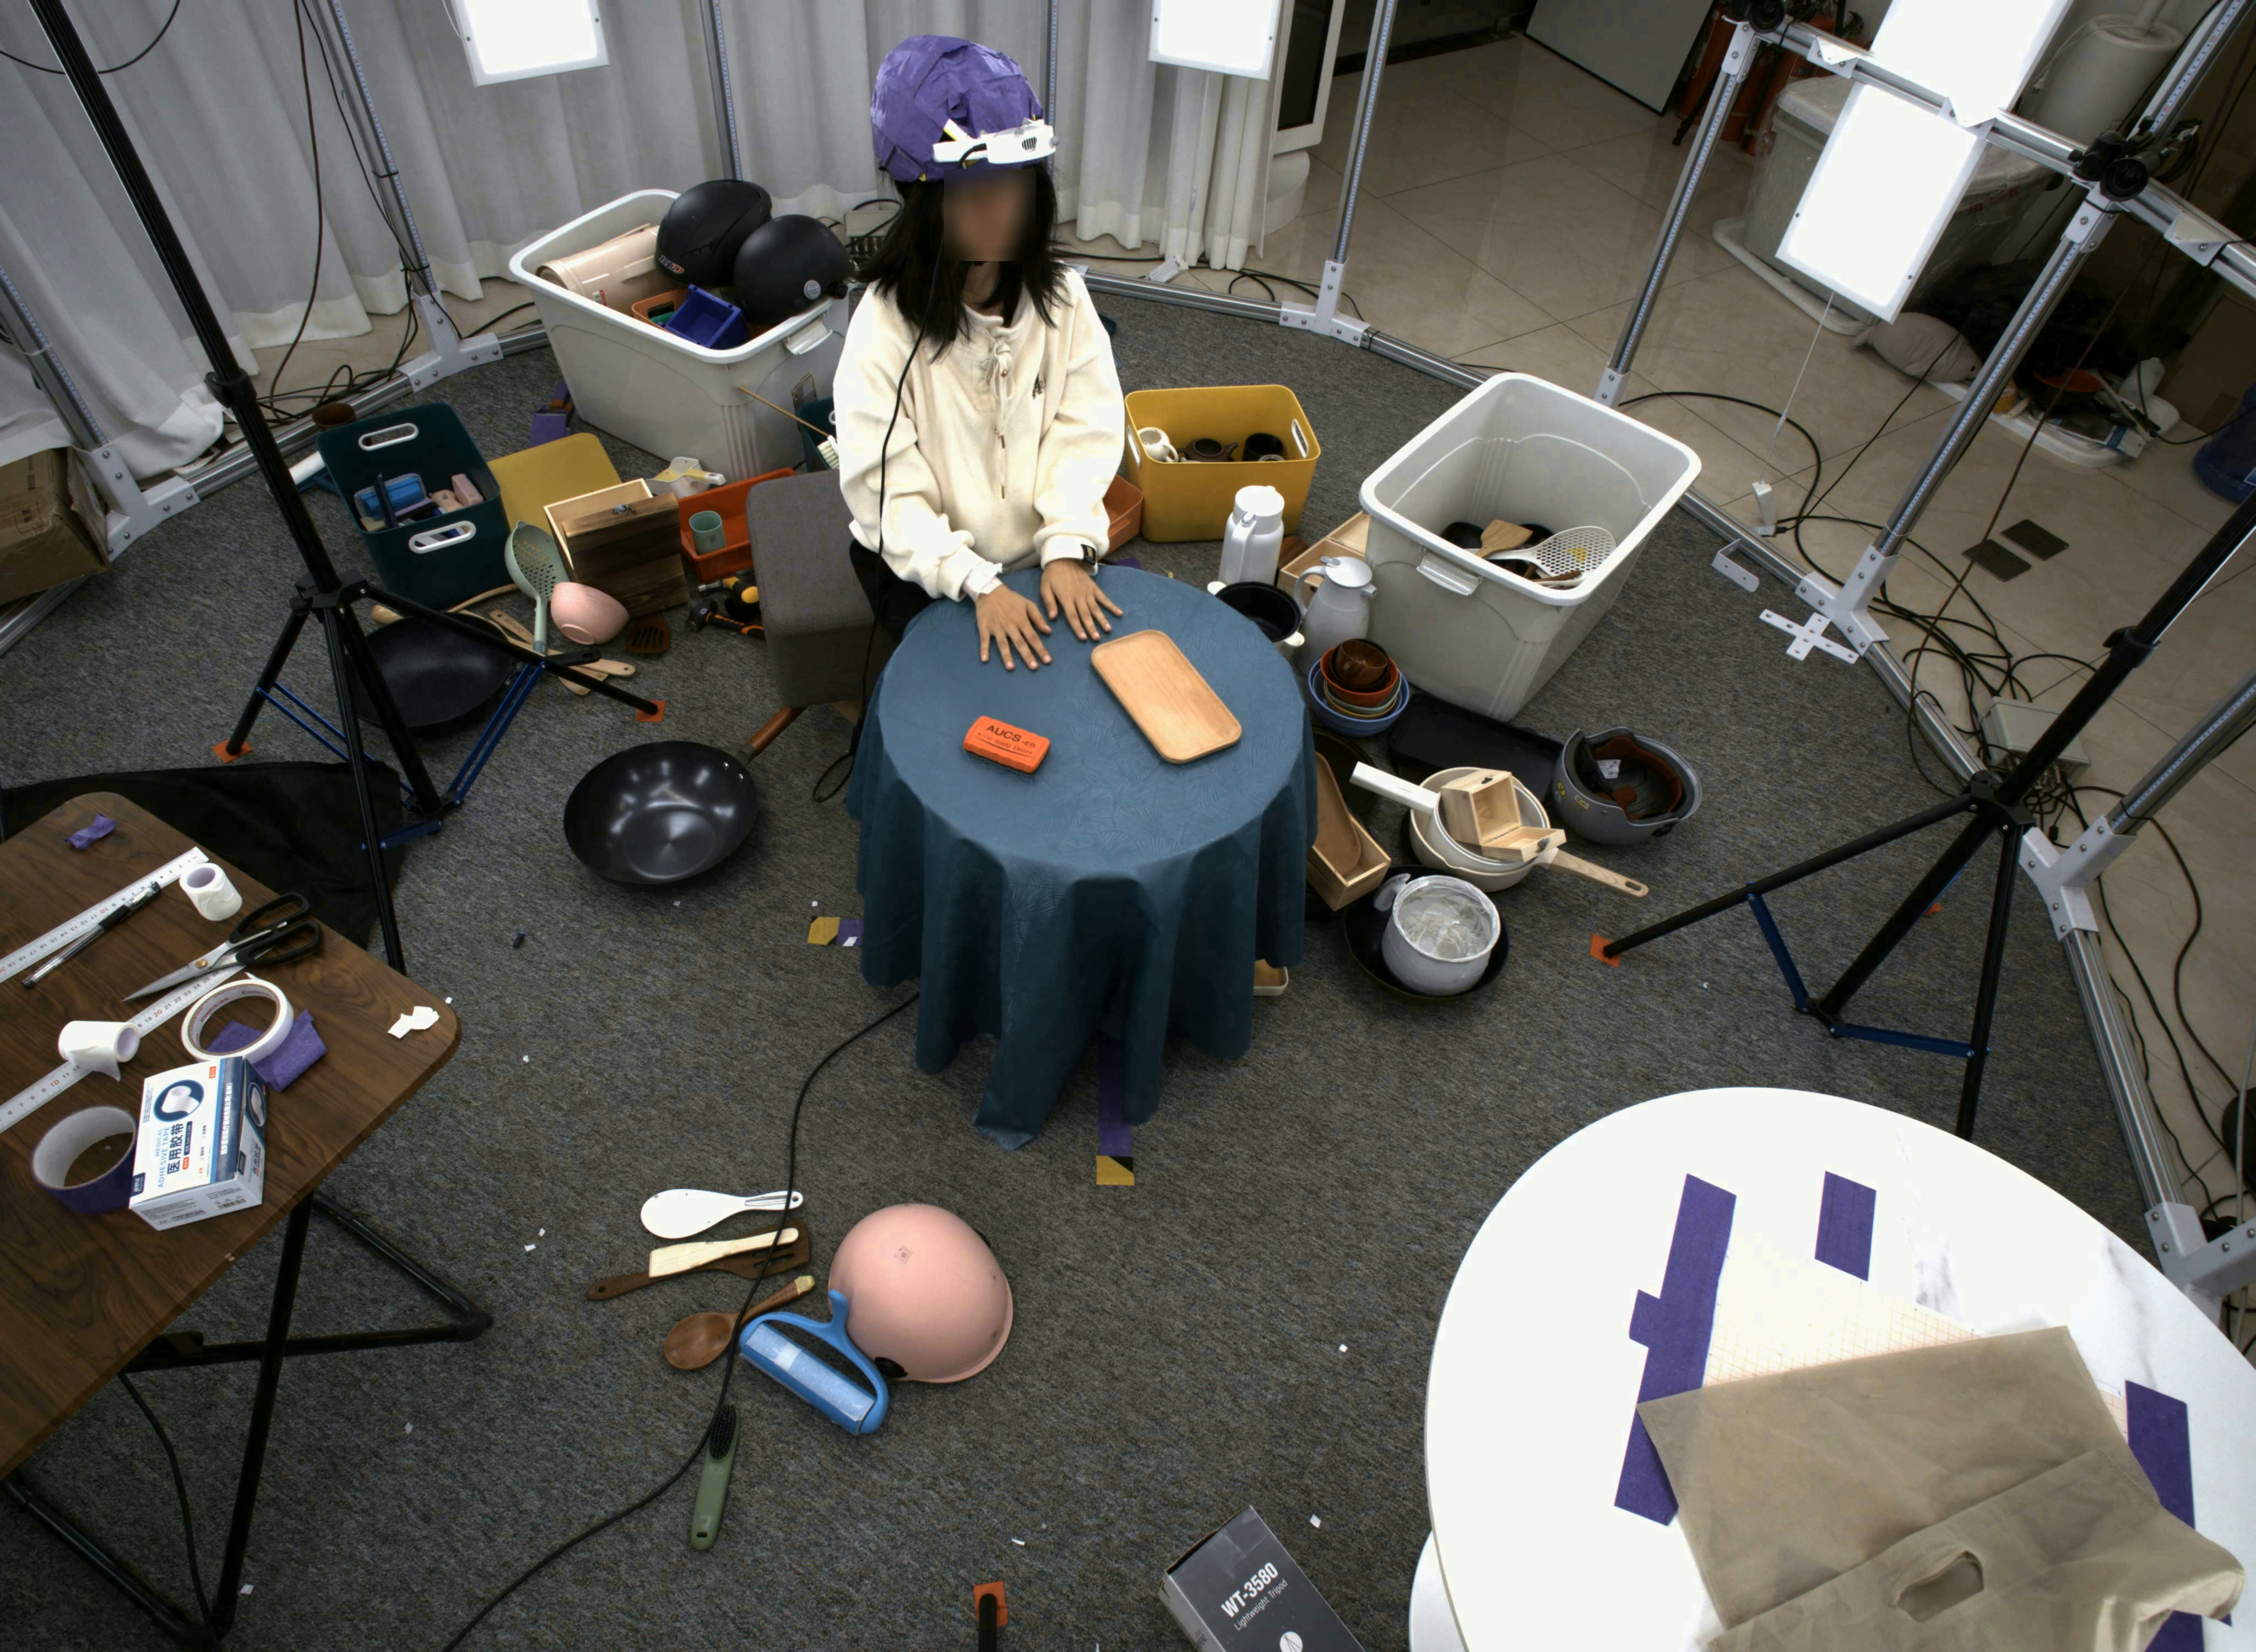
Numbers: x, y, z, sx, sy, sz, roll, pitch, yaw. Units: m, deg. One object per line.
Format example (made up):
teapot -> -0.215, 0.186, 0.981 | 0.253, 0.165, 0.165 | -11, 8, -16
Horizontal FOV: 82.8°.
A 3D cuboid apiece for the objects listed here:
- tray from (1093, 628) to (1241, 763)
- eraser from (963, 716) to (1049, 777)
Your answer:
tray -> 0.053, -0.189, 1.825 | 0.131, 0.022, 0.256 | -18, 52, -21
eraser -> -0.165, -0.109, 1.738 | 0.108, 0.022, 0.060 | 21, 52, 14
